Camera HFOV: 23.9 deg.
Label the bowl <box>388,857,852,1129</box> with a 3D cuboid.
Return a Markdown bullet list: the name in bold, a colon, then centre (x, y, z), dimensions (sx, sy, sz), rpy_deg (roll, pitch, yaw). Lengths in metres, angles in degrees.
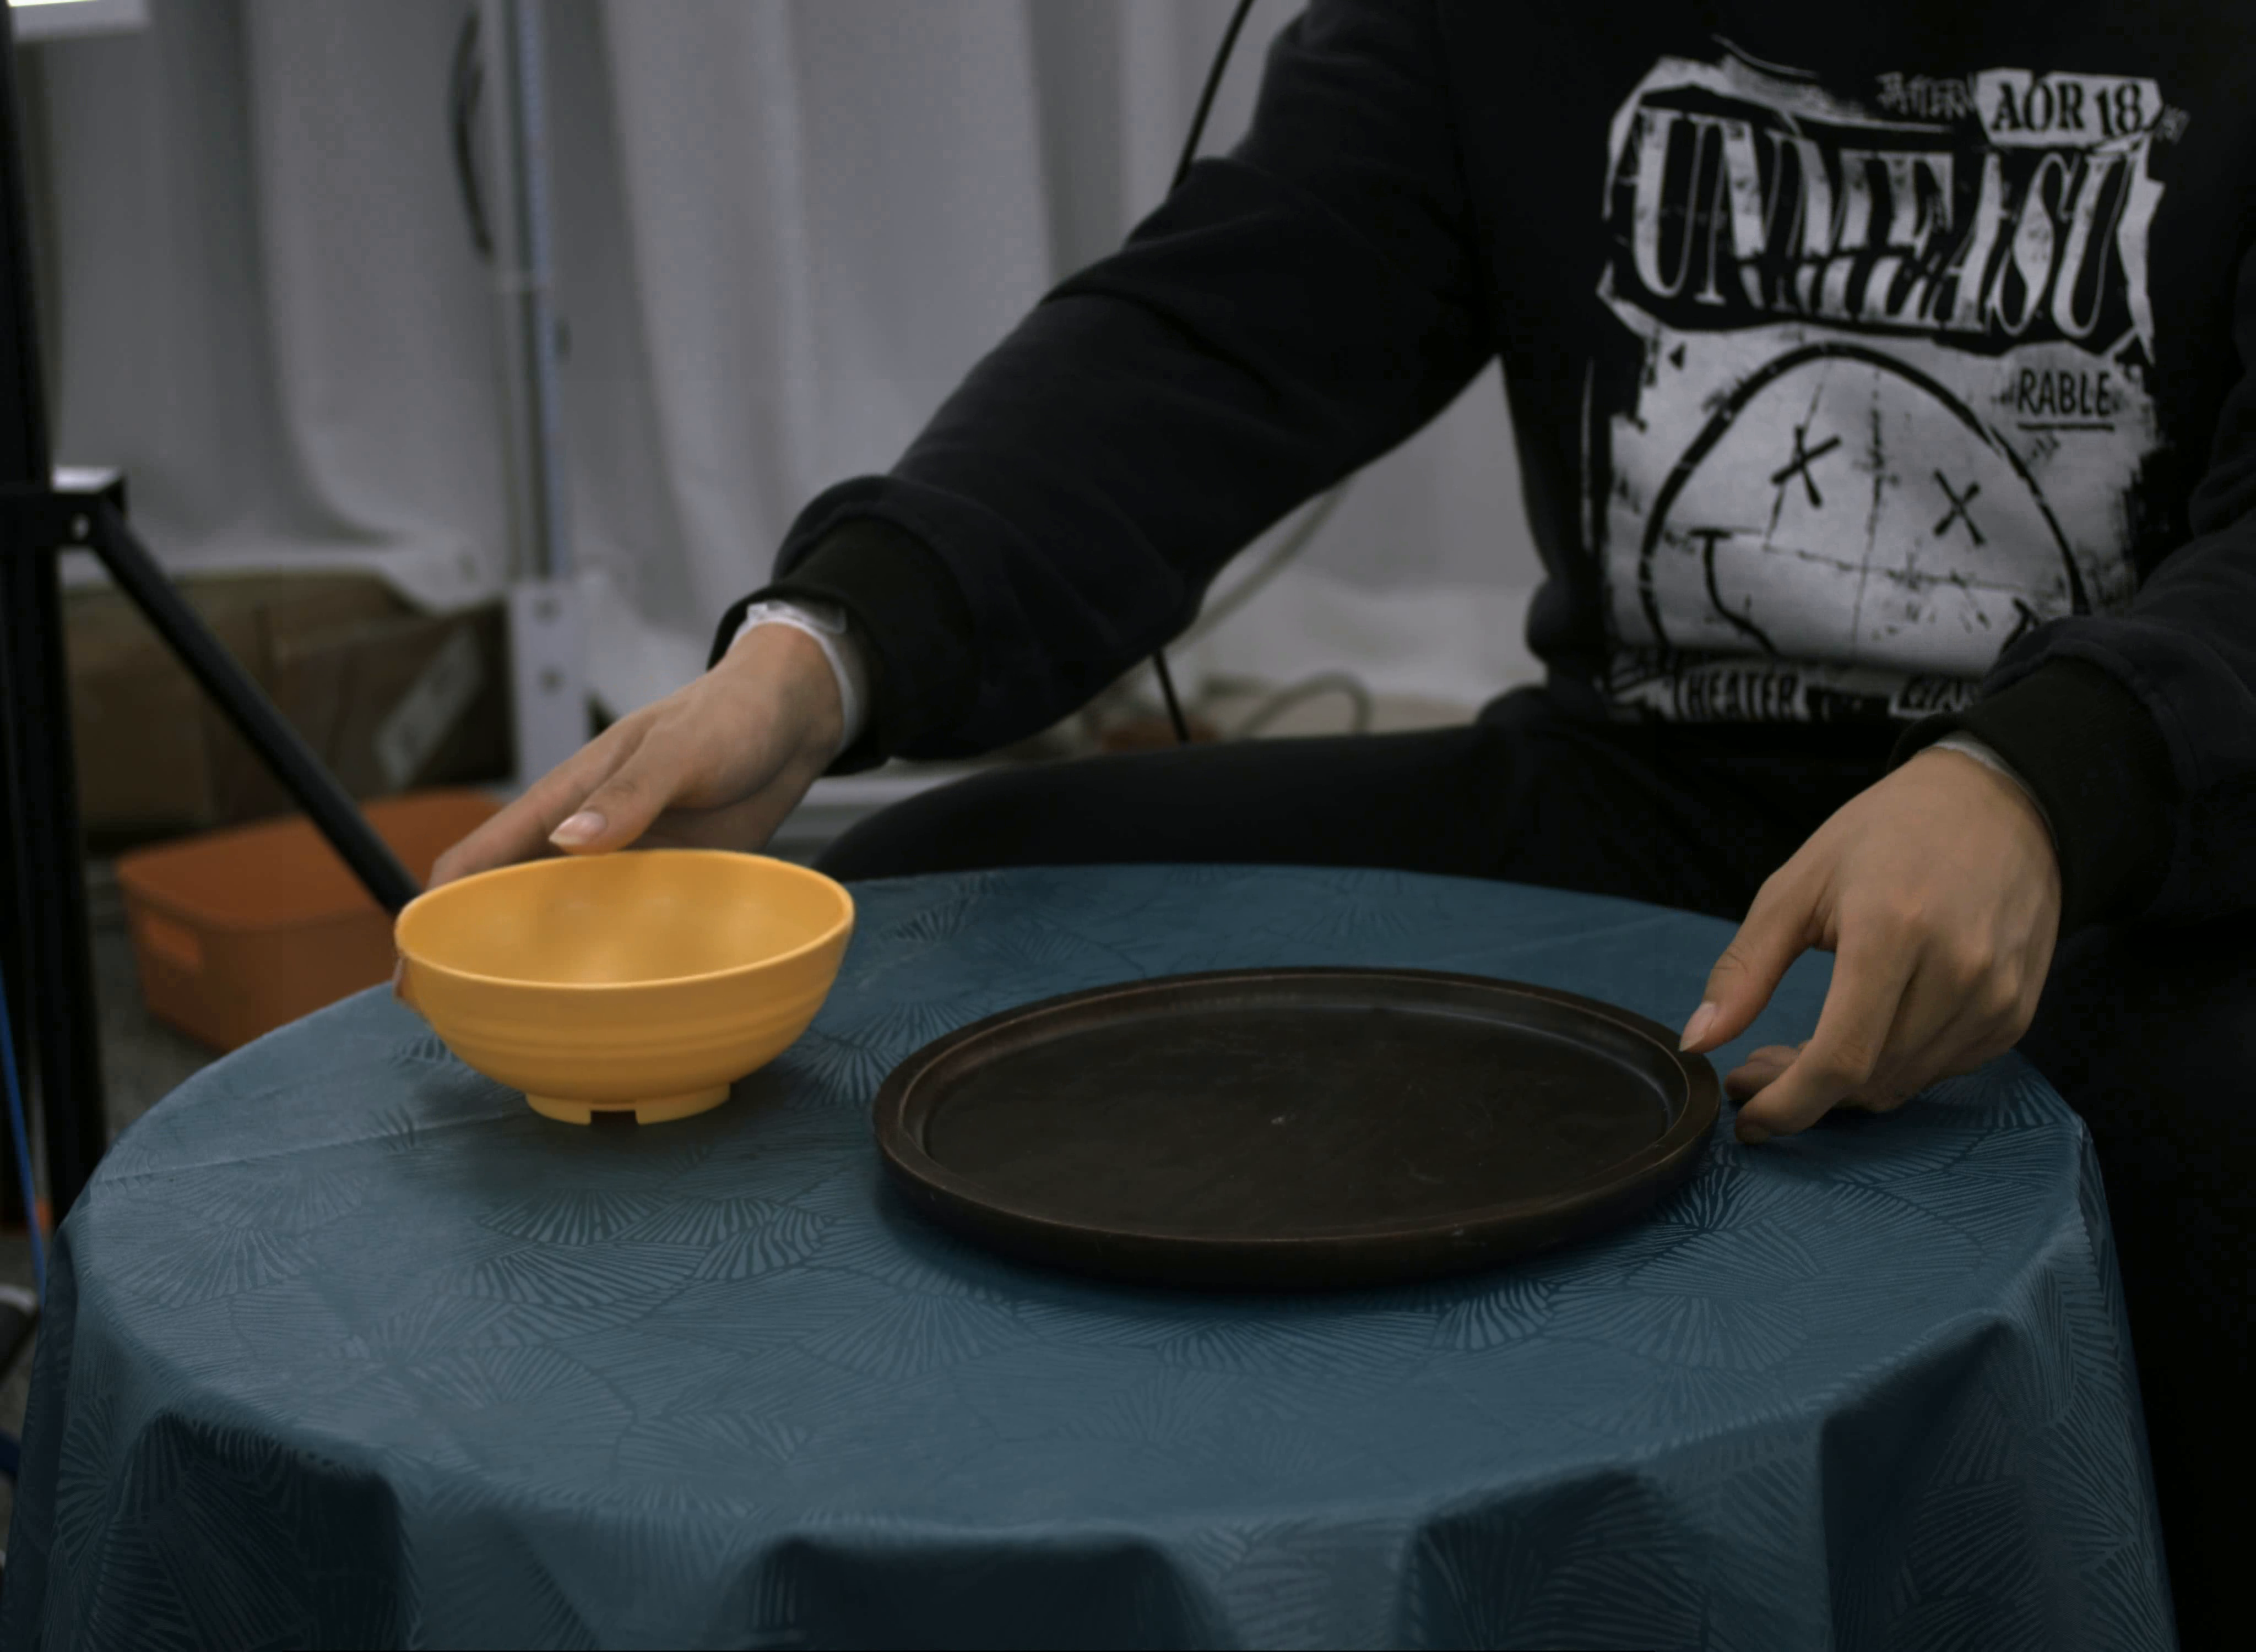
- **bowl**: centre (-0.158, 0.057, 1.664), dimensions (0.144, 0.060, 0.146), rpy_deg (0, 15, -1)

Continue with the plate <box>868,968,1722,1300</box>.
- **plate**: centre (0.050, 0.089, 1.575), dimensions (0.253, 0.029, 0.256), rpy_deg (-4, 14, 0)
